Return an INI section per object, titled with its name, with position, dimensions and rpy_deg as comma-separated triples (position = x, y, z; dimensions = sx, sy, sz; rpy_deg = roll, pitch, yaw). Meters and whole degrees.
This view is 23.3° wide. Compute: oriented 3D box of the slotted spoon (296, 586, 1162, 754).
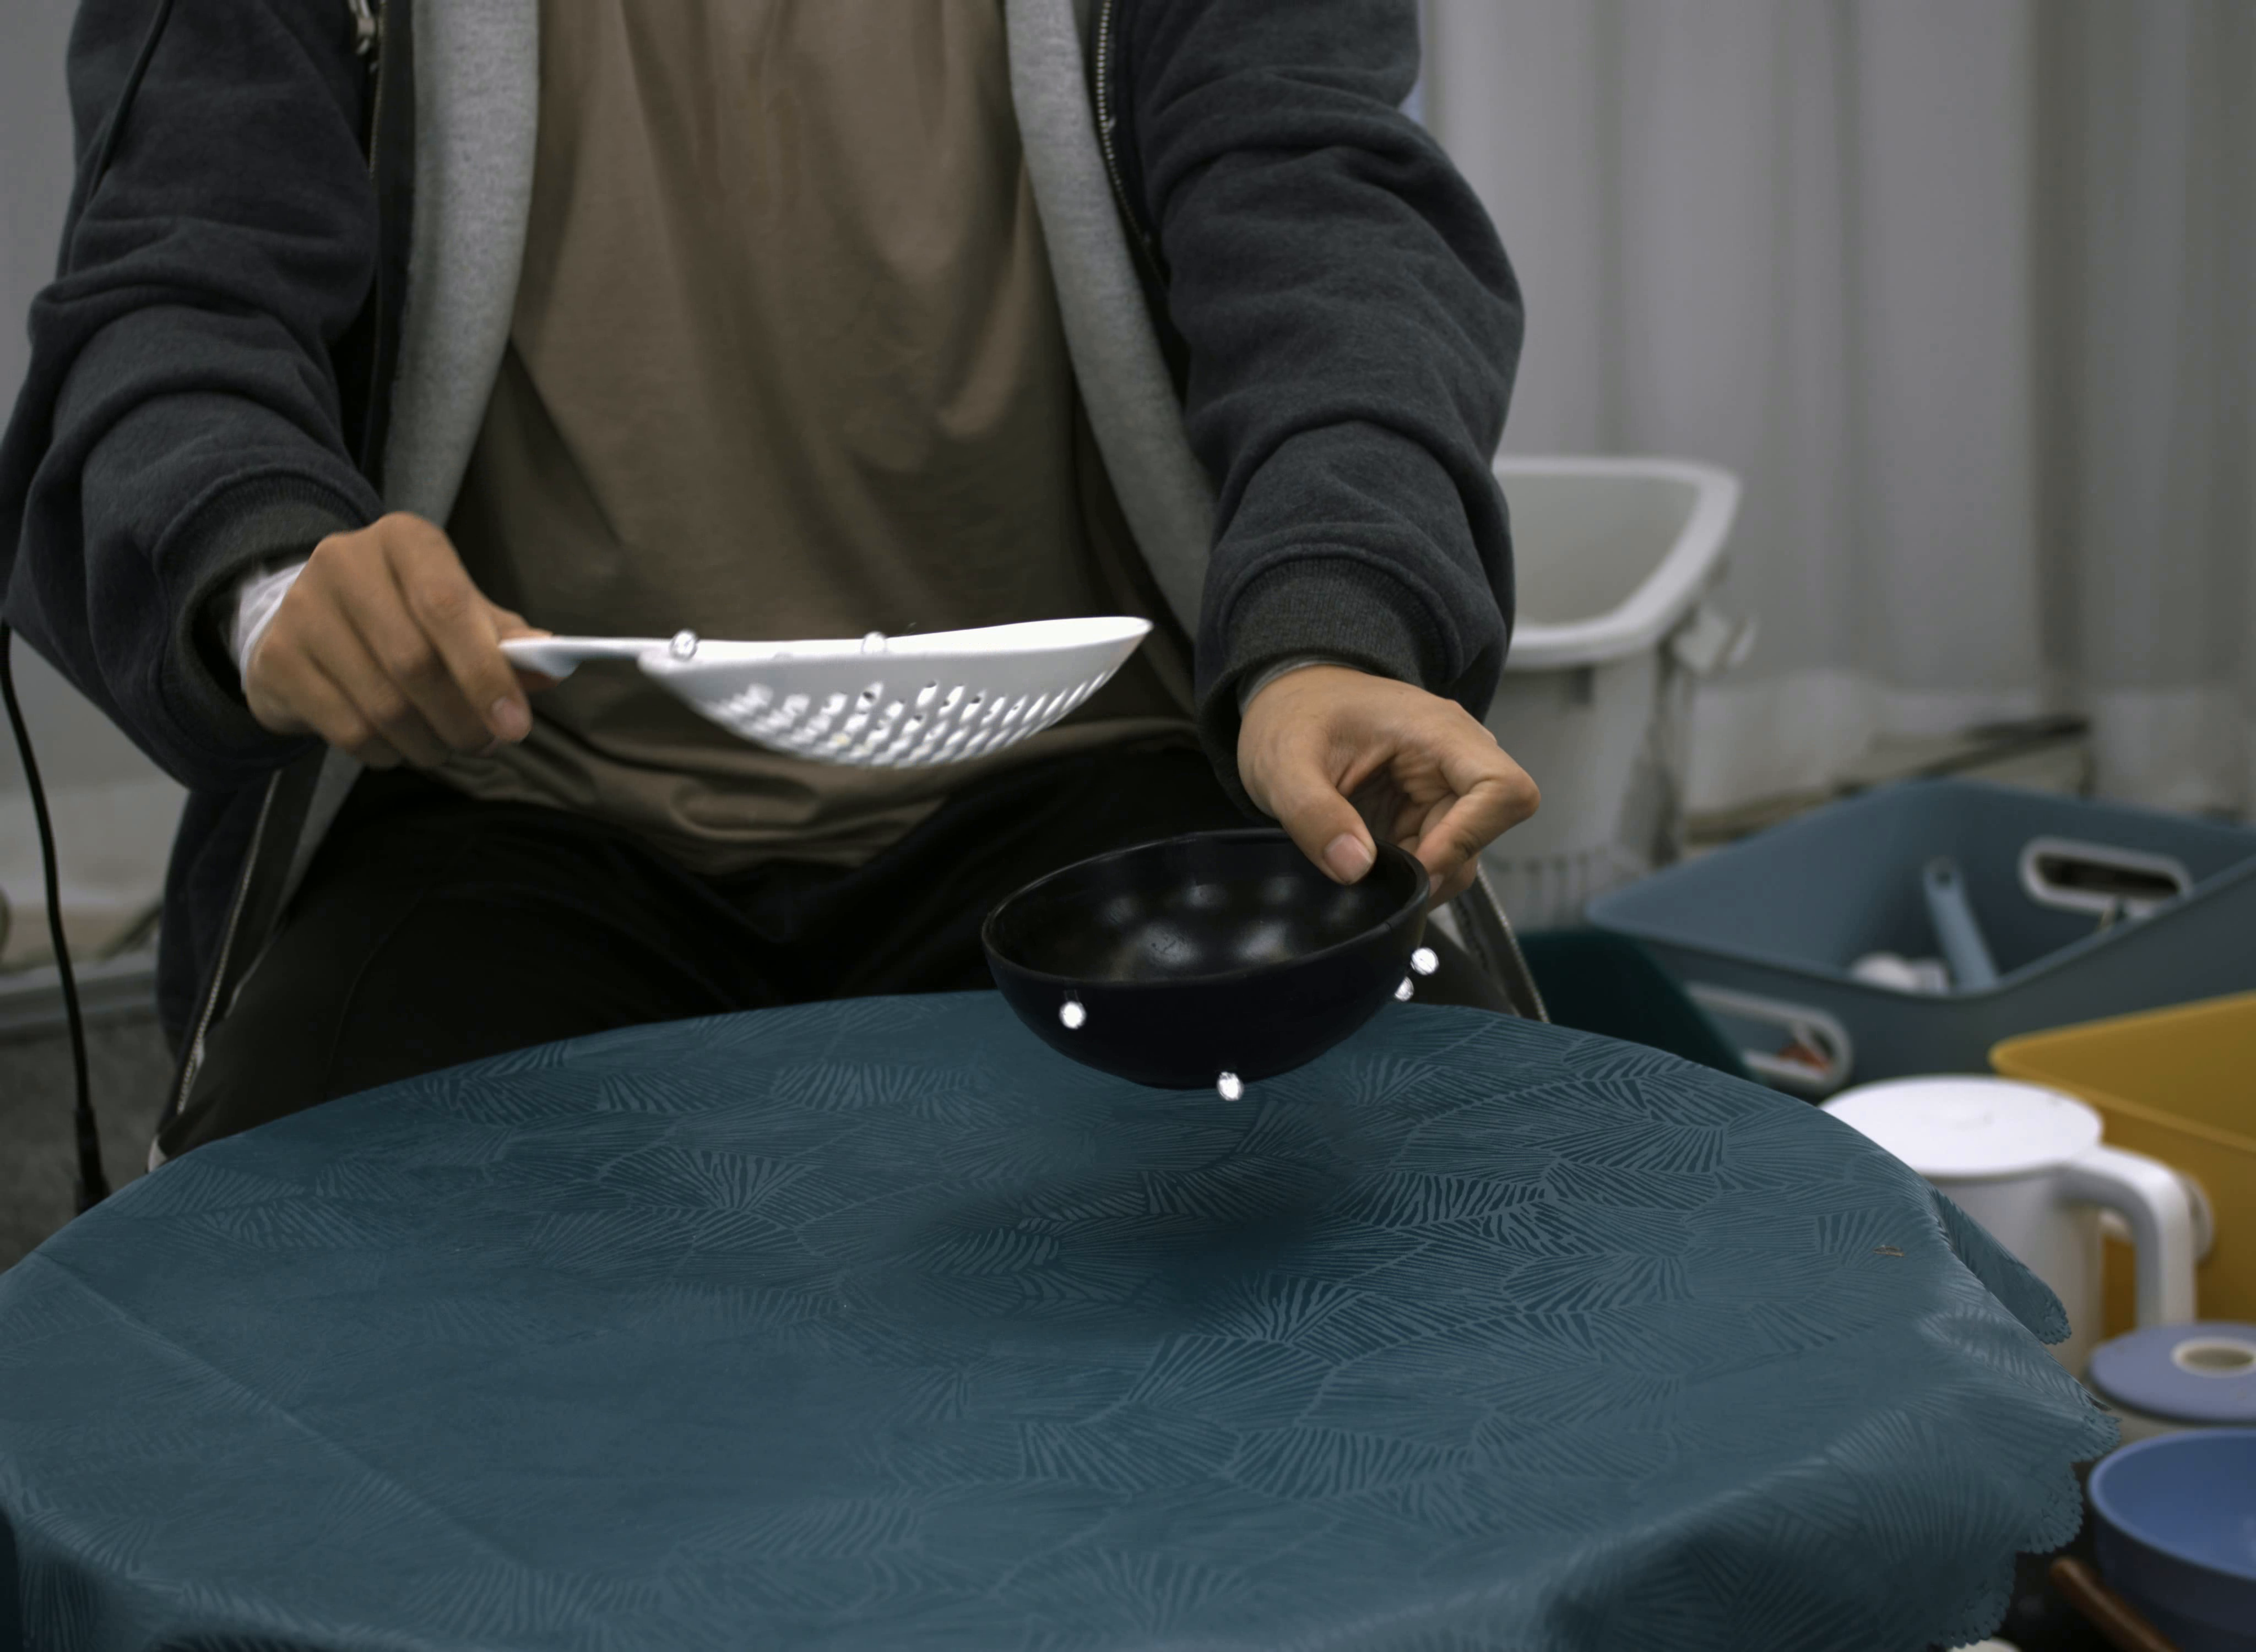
[slotted spoon]
position = -0.137, -0.046, 1.668
dimensions = 0.349, 0.050, 0.136
rpy_deg = 4, 8, 44
